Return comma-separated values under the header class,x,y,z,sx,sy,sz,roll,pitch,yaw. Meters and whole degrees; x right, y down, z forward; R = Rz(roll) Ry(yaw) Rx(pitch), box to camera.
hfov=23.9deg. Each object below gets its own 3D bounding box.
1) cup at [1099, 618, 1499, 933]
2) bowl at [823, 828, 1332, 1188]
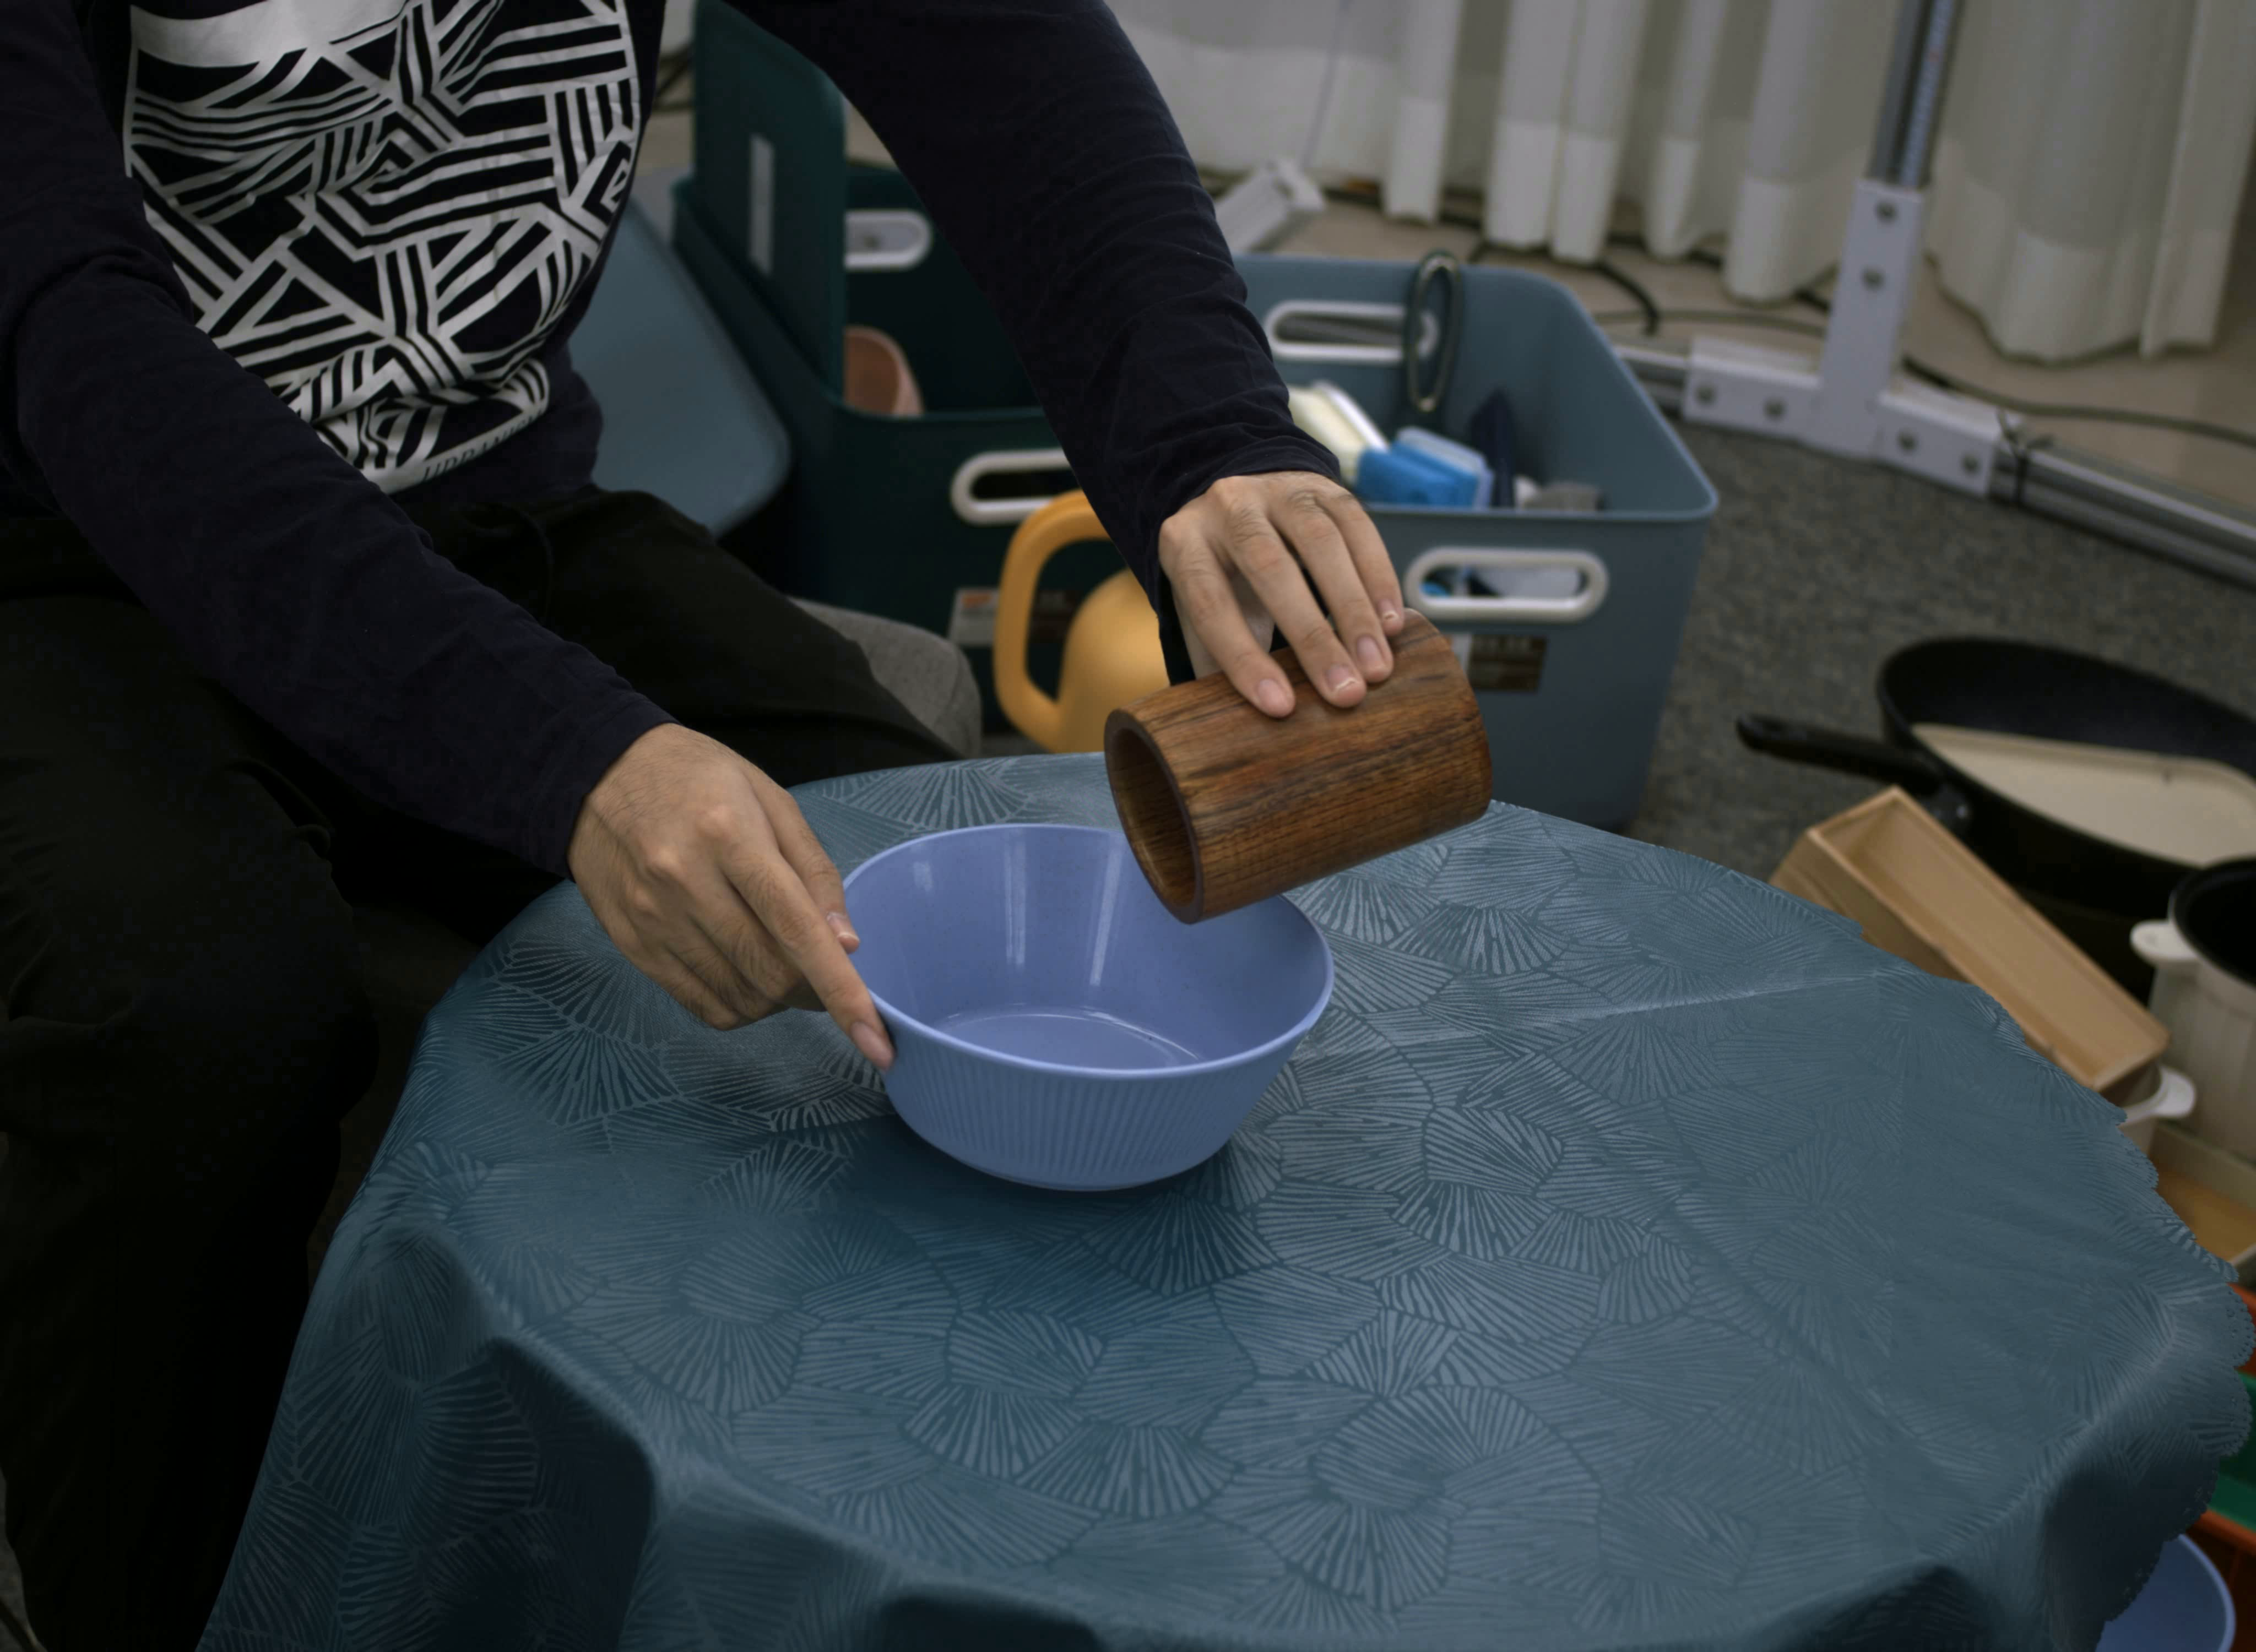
class,x,y,z,sx,sy,sz,roll,pitch,yaw
cup,0.058,-0.017,1.833,0.118,0.087,0.088,-16,33,-15
bowl,-0.020,0.068,1.833,0.175,0.070,0.177,5,26,-3
